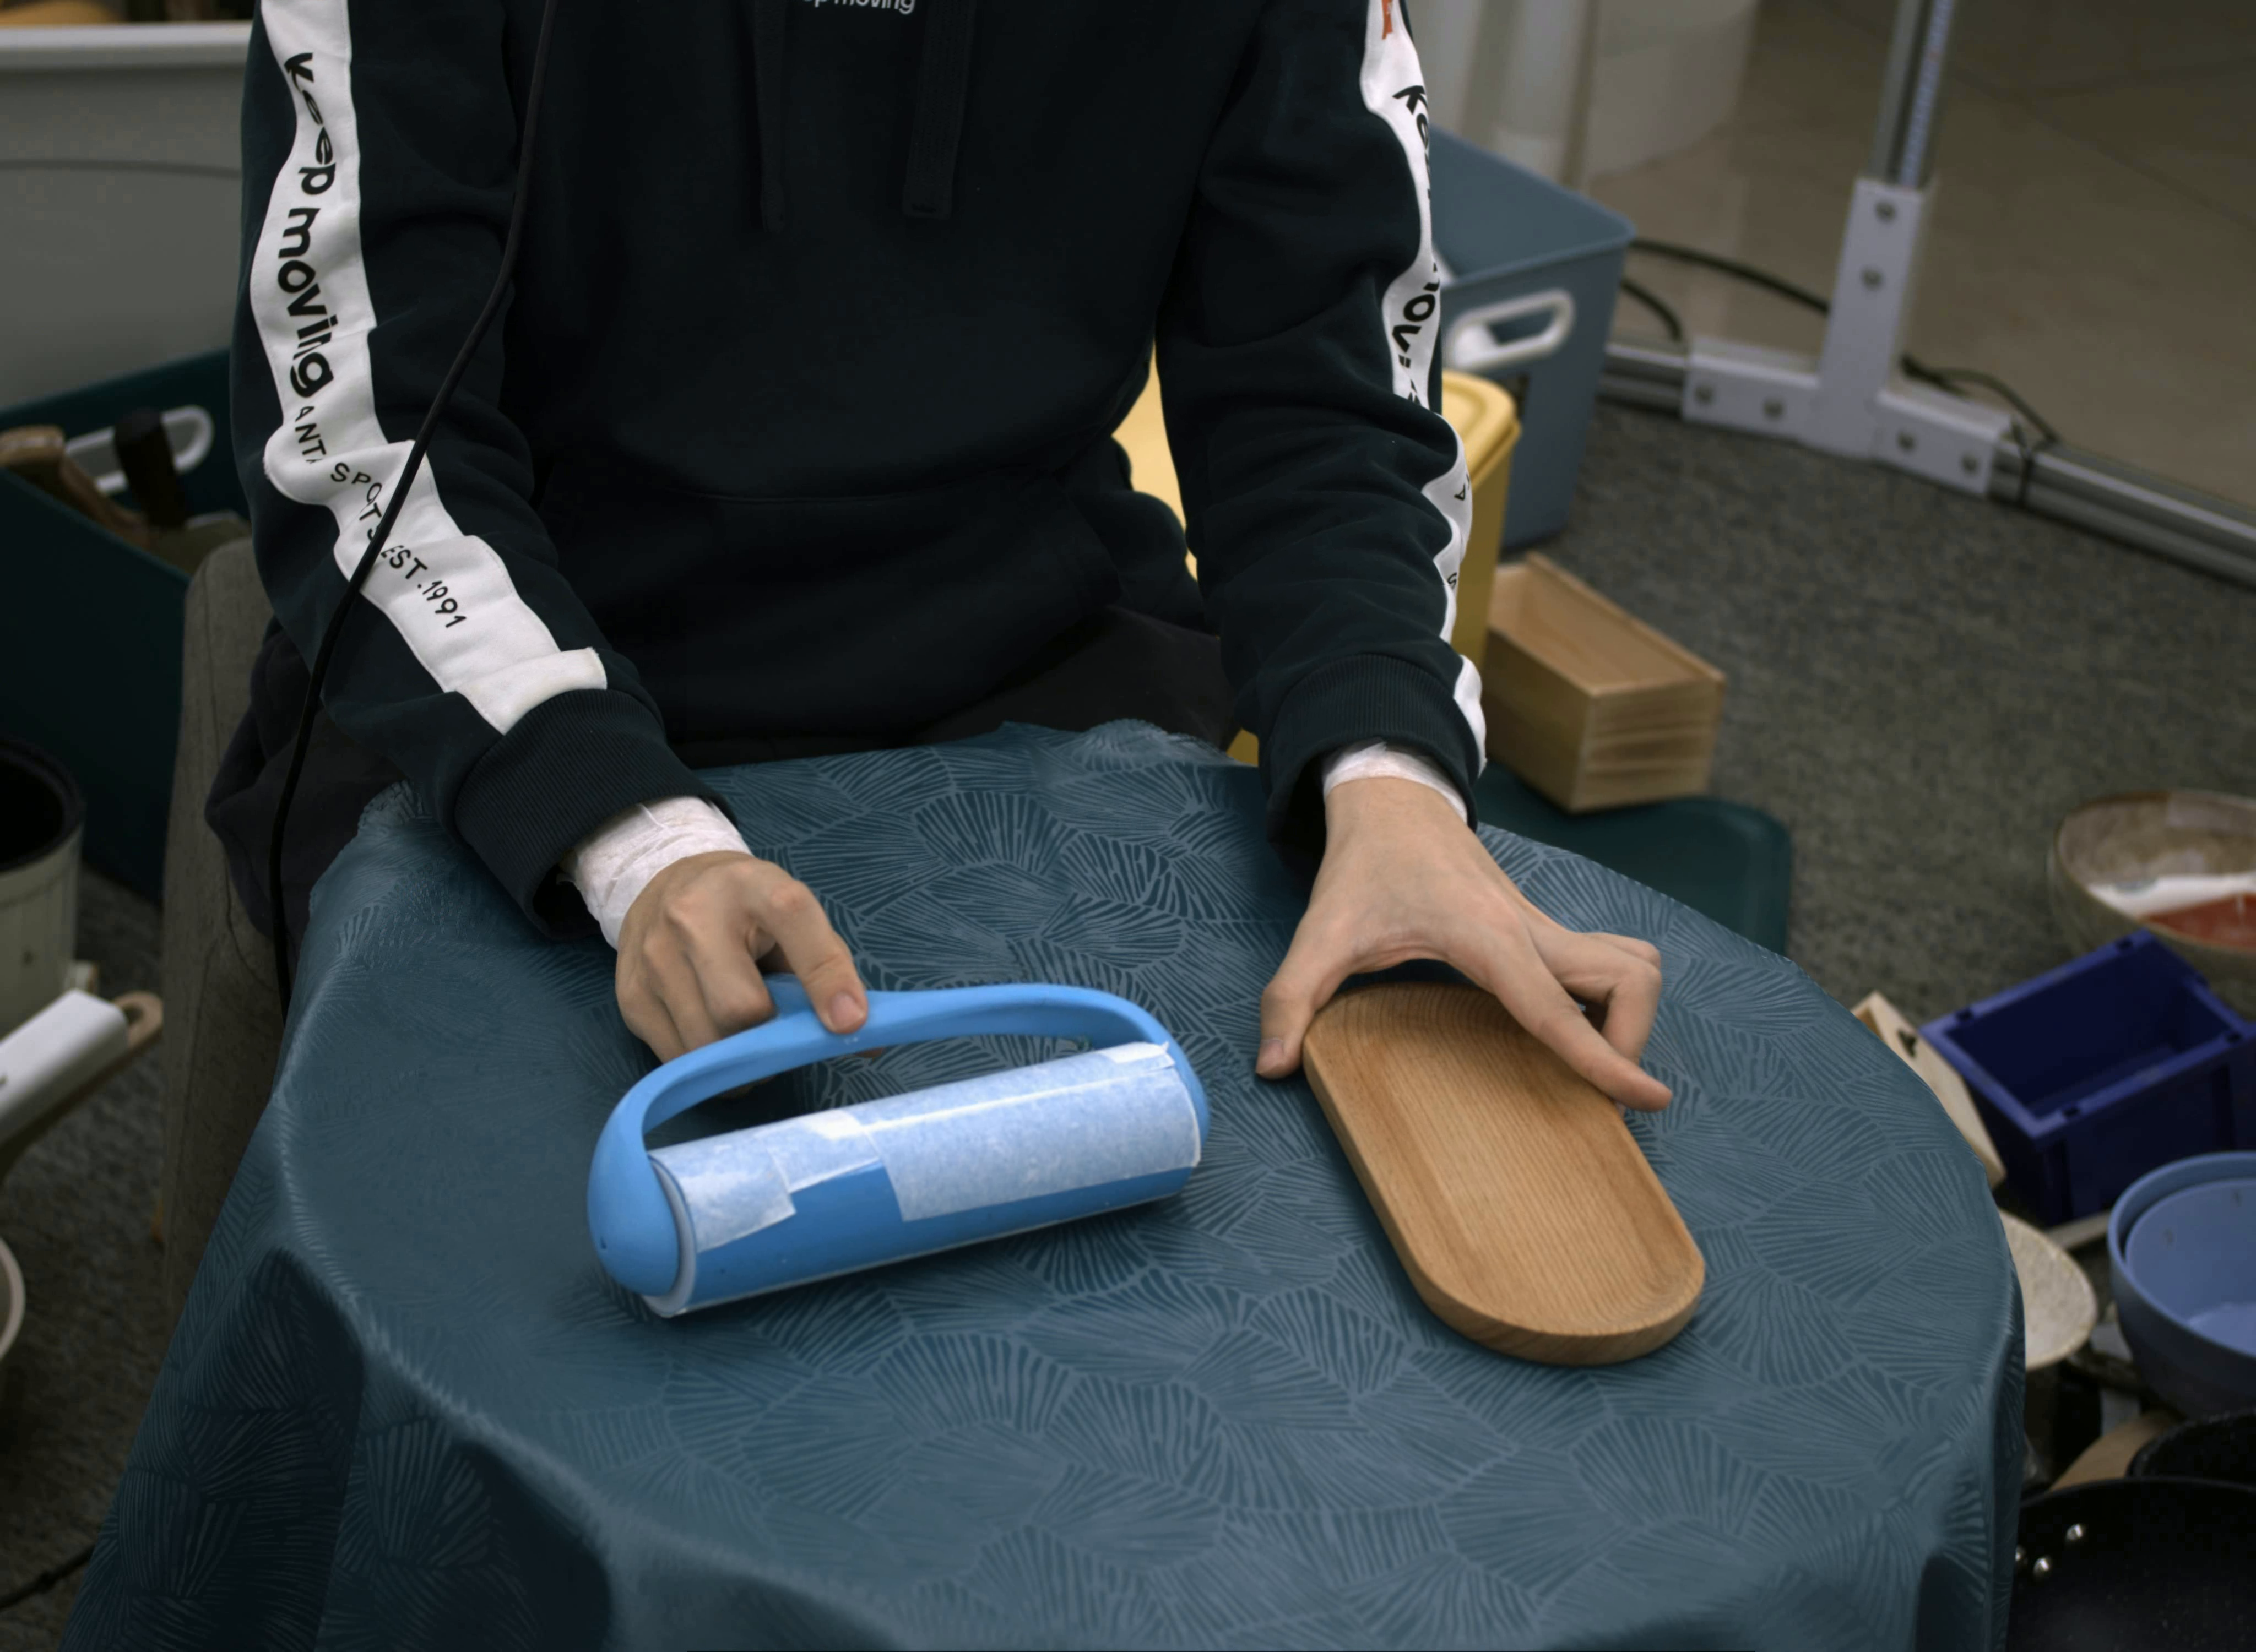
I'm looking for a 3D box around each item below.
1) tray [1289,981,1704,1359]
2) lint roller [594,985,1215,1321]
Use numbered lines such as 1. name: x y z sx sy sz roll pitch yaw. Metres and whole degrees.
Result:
1. tray: 0.124 0.115 1.824 0.101 0.020 0.233 -1 27 -16
2. lint roller: -0.103 0.088 1.783 0.227 0.067 0.182 -14 34 -32
